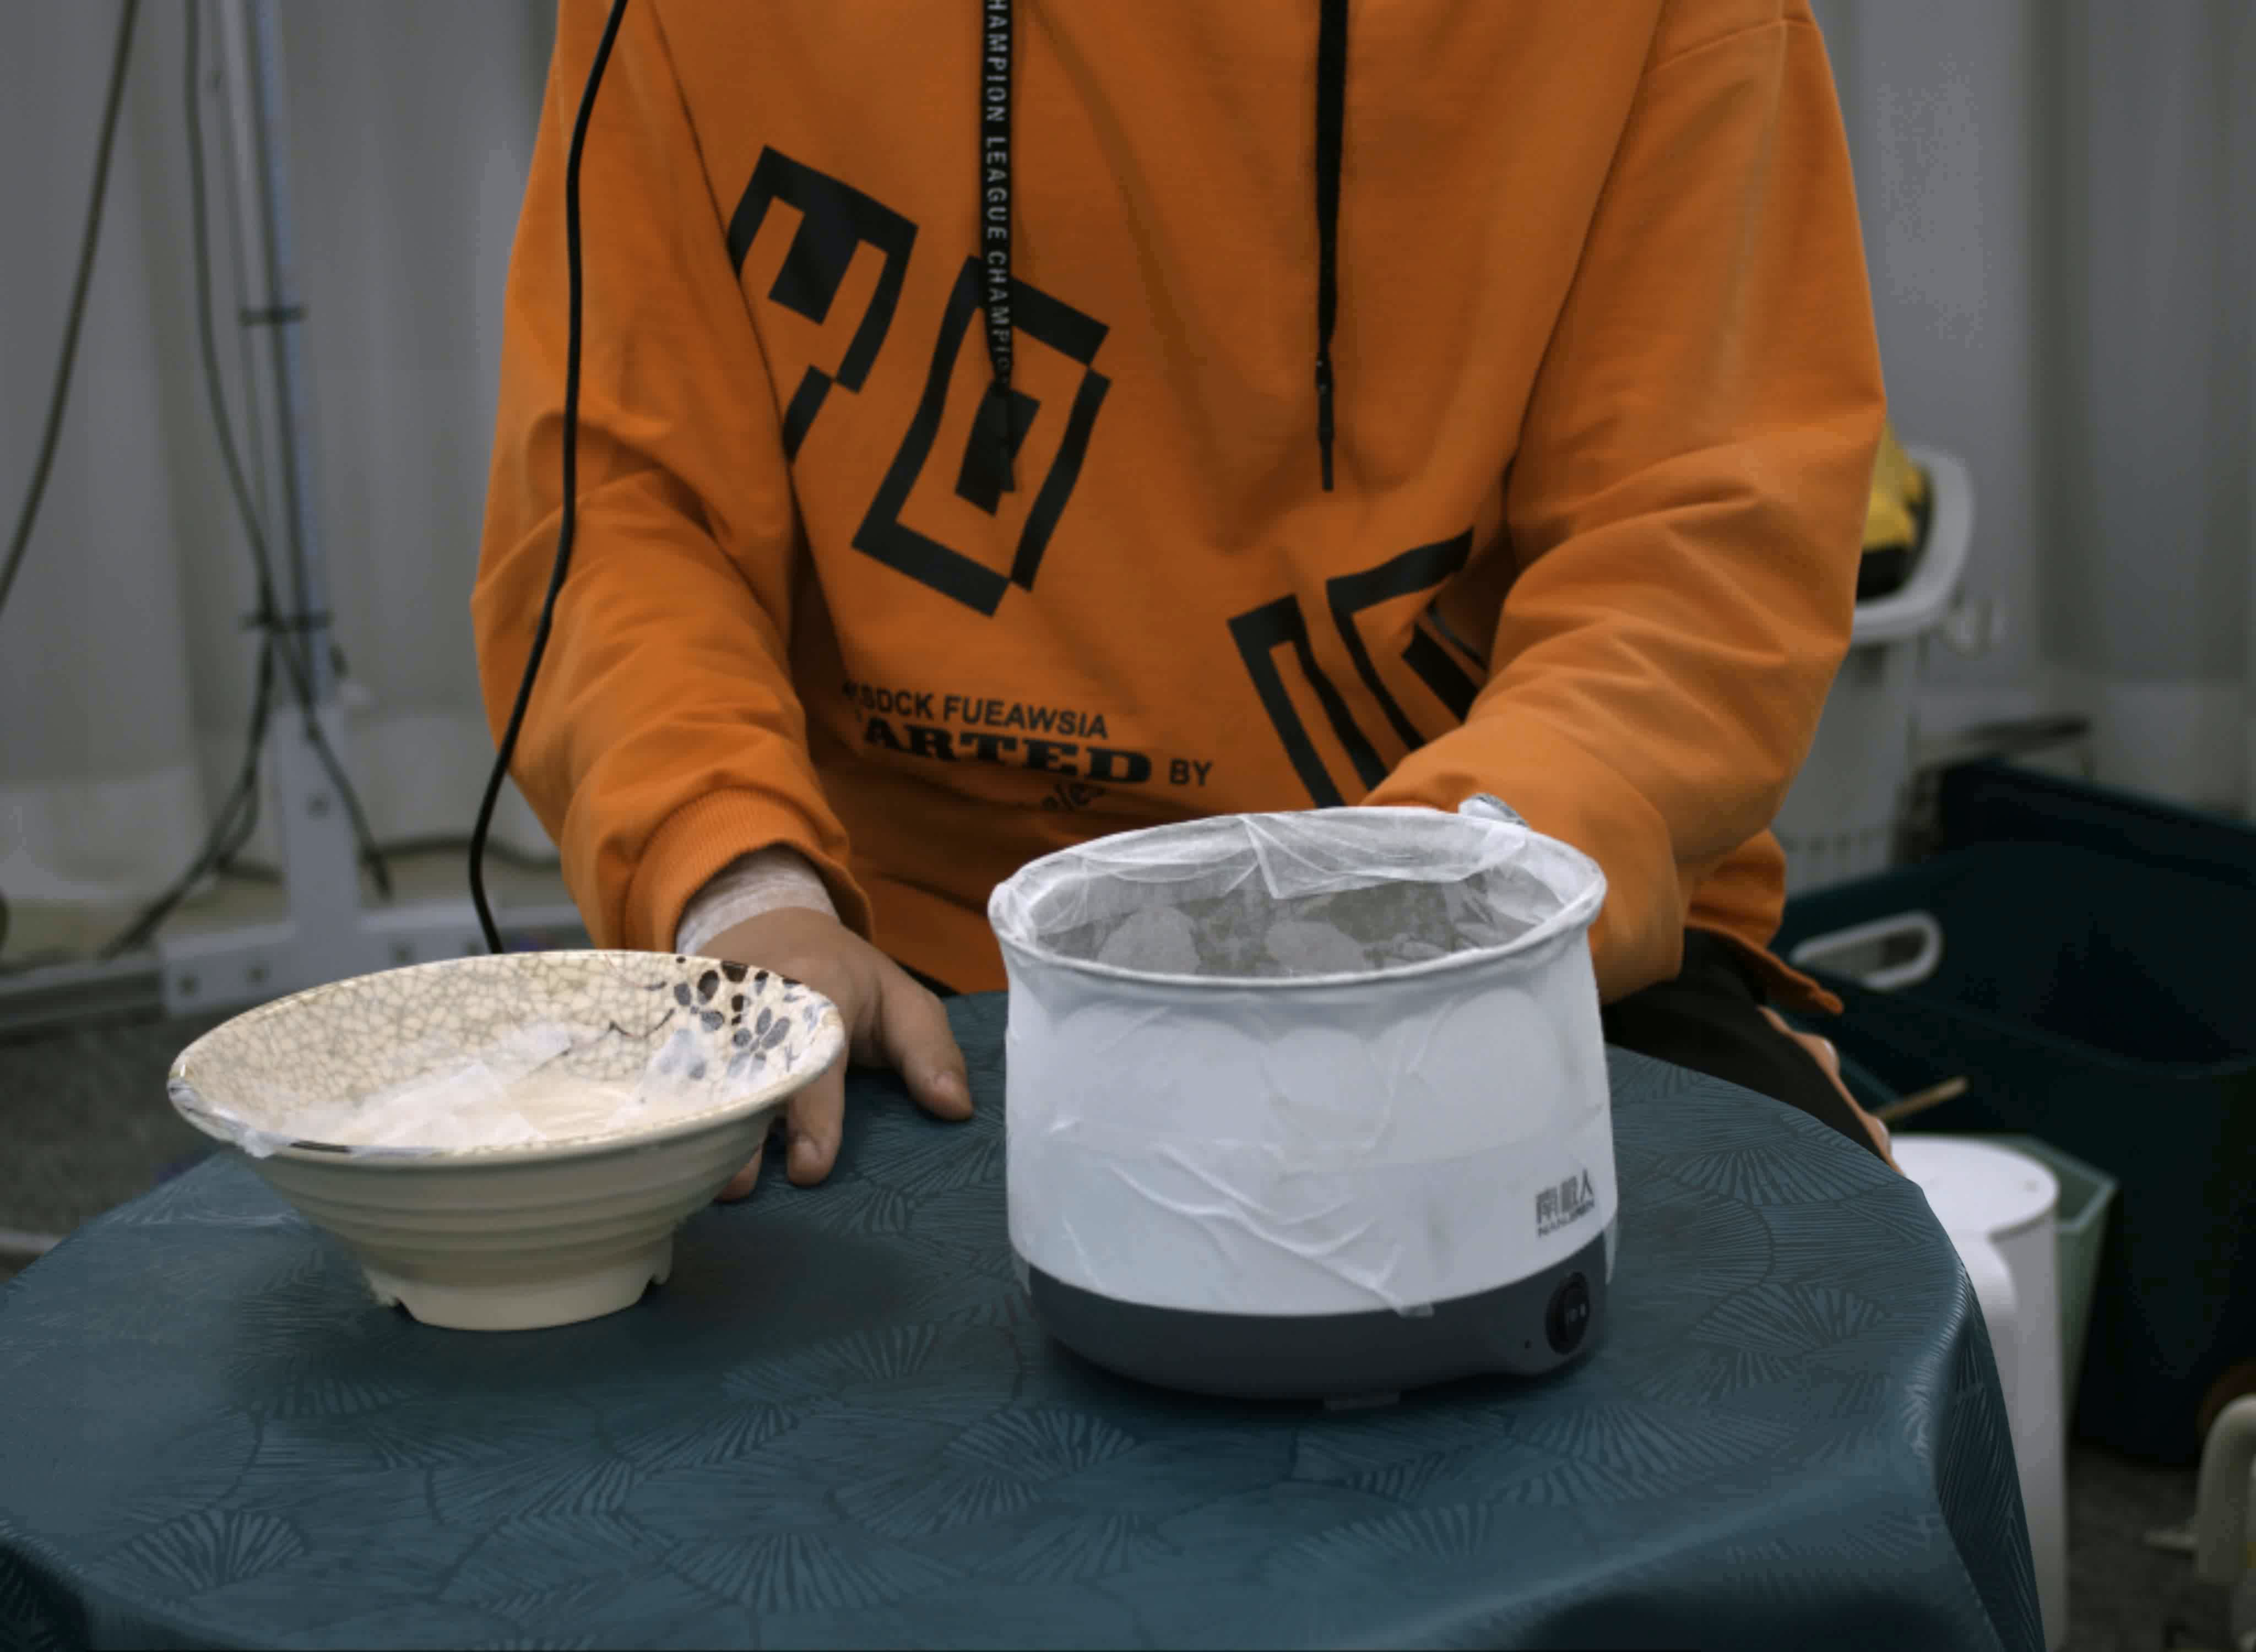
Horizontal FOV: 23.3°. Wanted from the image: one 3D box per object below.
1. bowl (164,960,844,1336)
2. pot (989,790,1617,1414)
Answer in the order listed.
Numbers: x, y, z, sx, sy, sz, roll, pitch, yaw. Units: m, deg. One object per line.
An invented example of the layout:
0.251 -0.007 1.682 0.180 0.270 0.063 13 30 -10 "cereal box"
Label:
-0.185 0.103 1.650 0.203 0.078 0.205 -3 13 0 "bowl"
0.067 0.073 1.594 0.179 0.136 0.234 8 18 34 "pot"
